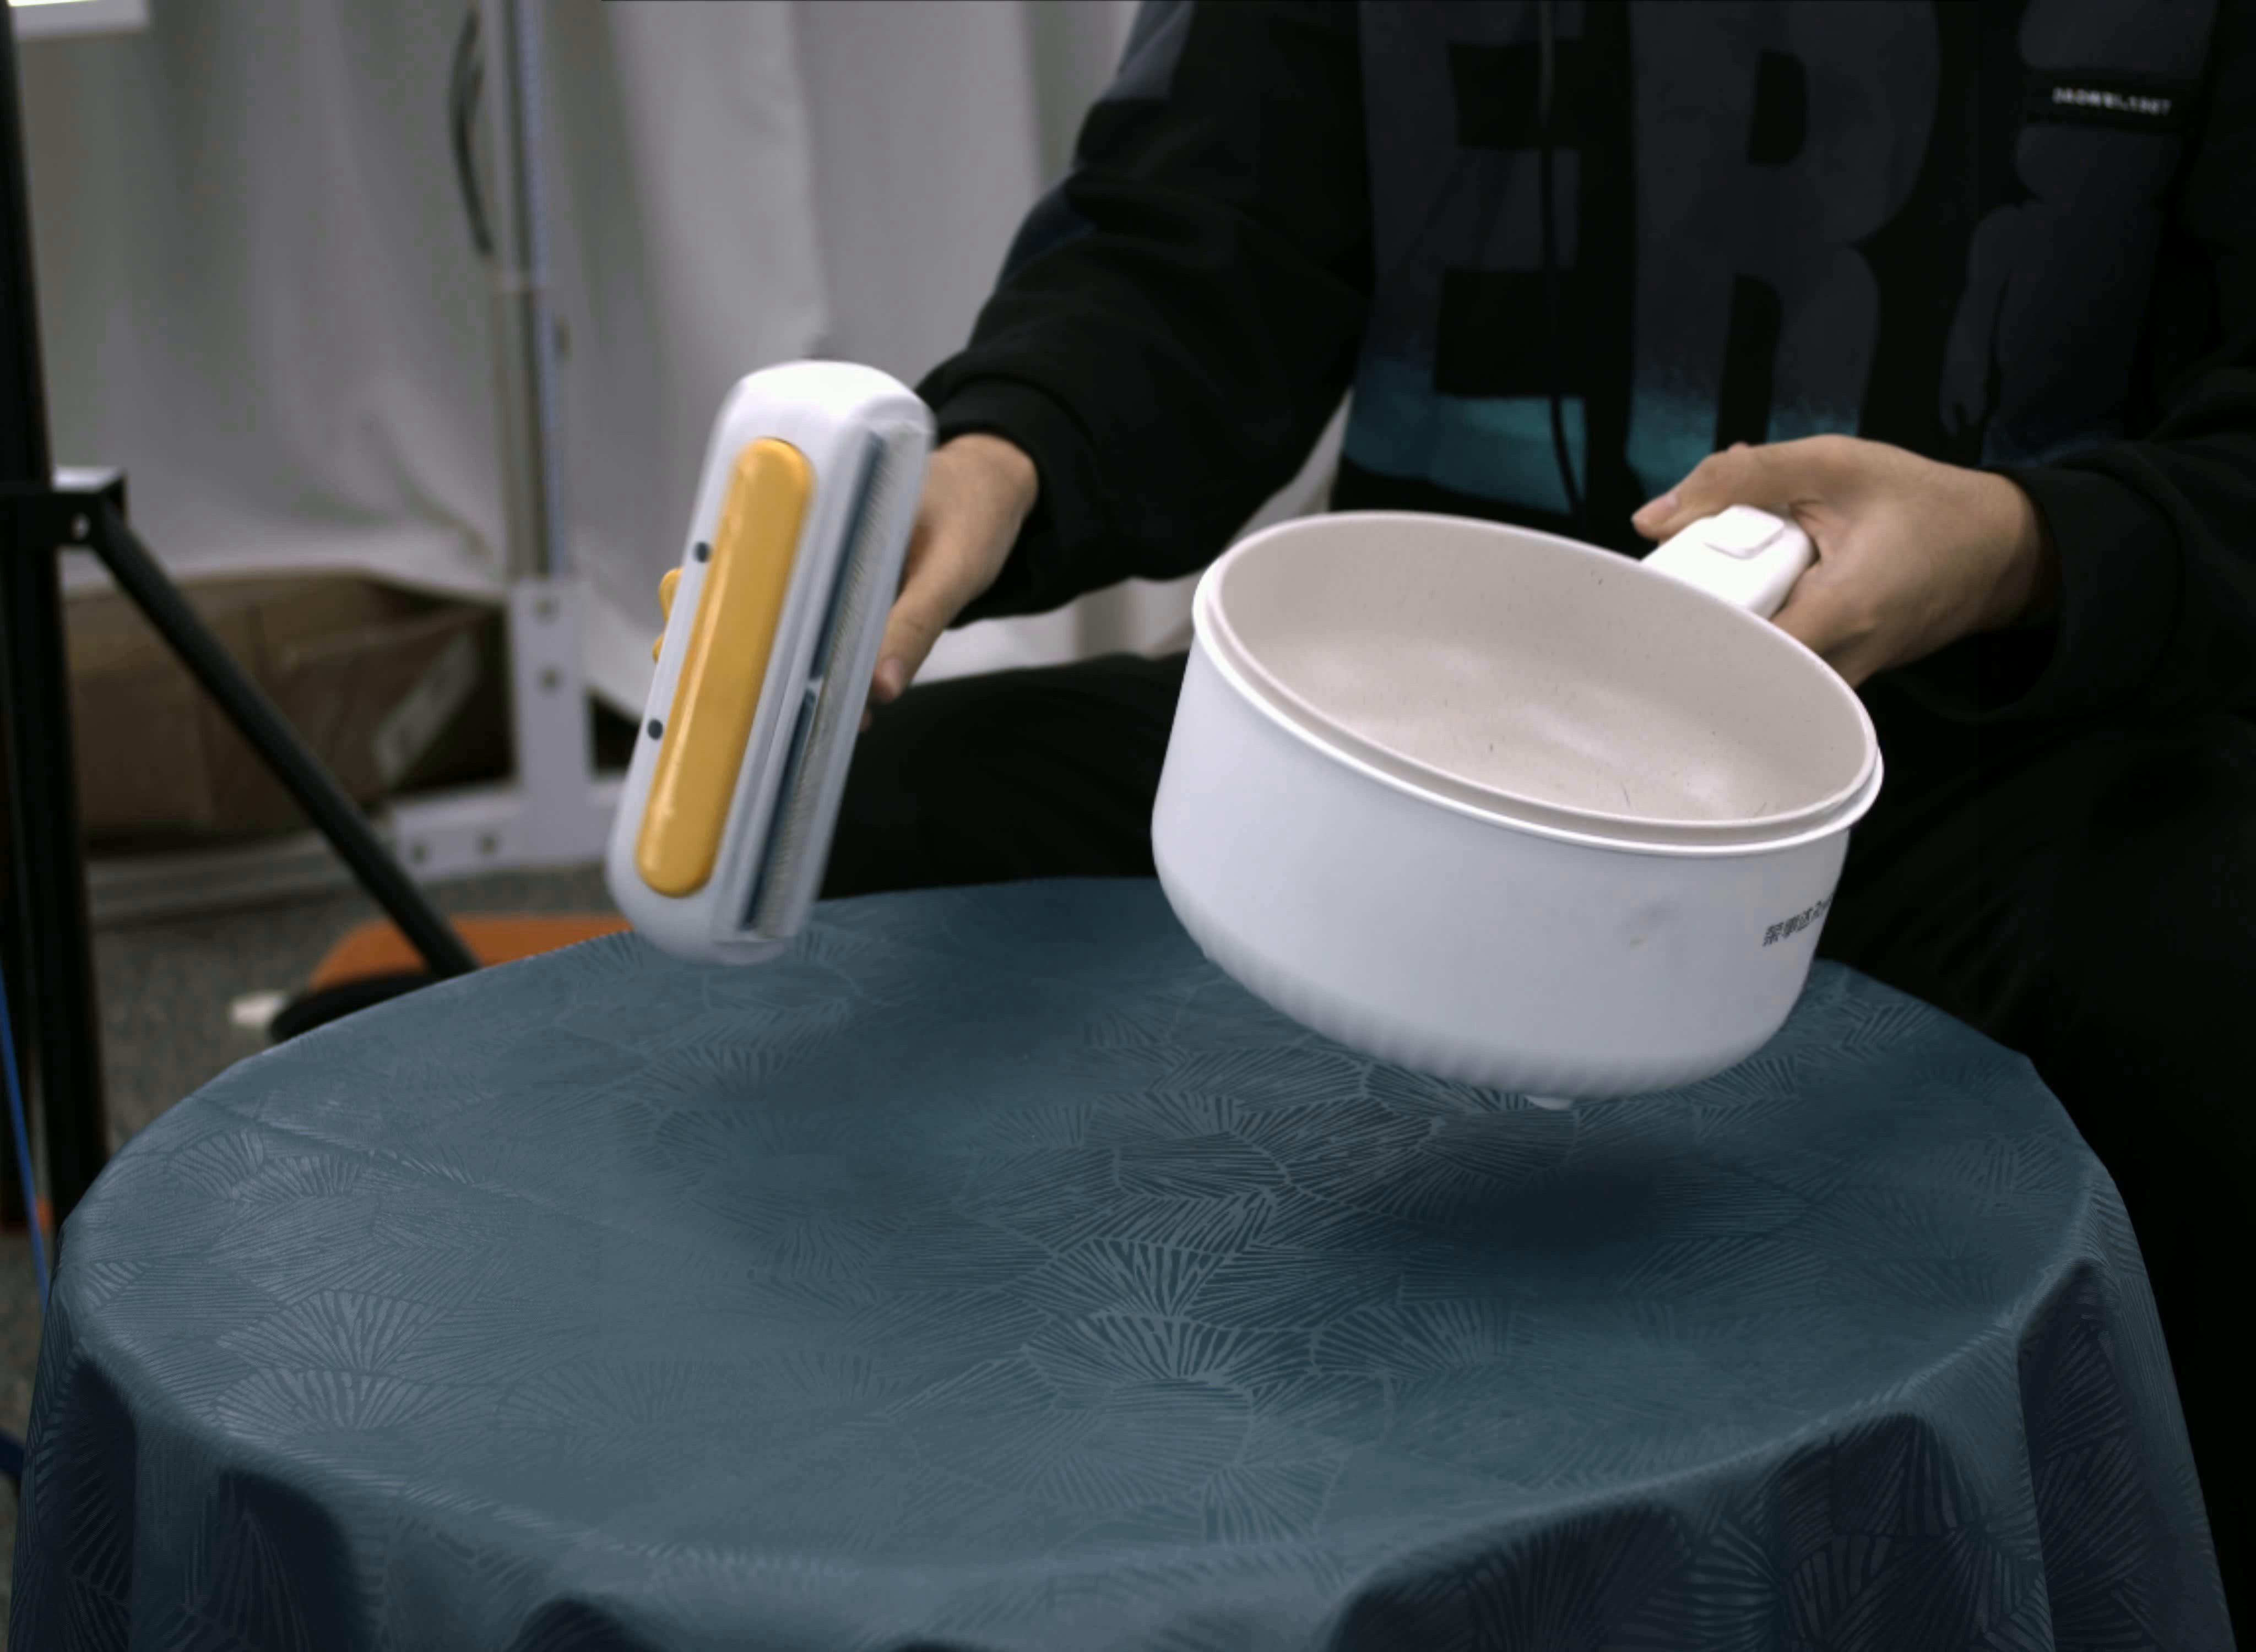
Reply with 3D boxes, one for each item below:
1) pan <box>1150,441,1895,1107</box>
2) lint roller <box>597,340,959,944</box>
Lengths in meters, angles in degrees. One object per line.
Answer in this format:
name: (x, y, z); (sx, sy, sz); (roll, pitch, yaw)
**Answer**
pan: (0.140, -0.026, 1.578); (0.204, 0.102, 0.349); (23, 27, 20)
lint roller: (-0.097, -0.061, 1.706); (0.075, 0.193, 0.189); (19, 7, 17)
